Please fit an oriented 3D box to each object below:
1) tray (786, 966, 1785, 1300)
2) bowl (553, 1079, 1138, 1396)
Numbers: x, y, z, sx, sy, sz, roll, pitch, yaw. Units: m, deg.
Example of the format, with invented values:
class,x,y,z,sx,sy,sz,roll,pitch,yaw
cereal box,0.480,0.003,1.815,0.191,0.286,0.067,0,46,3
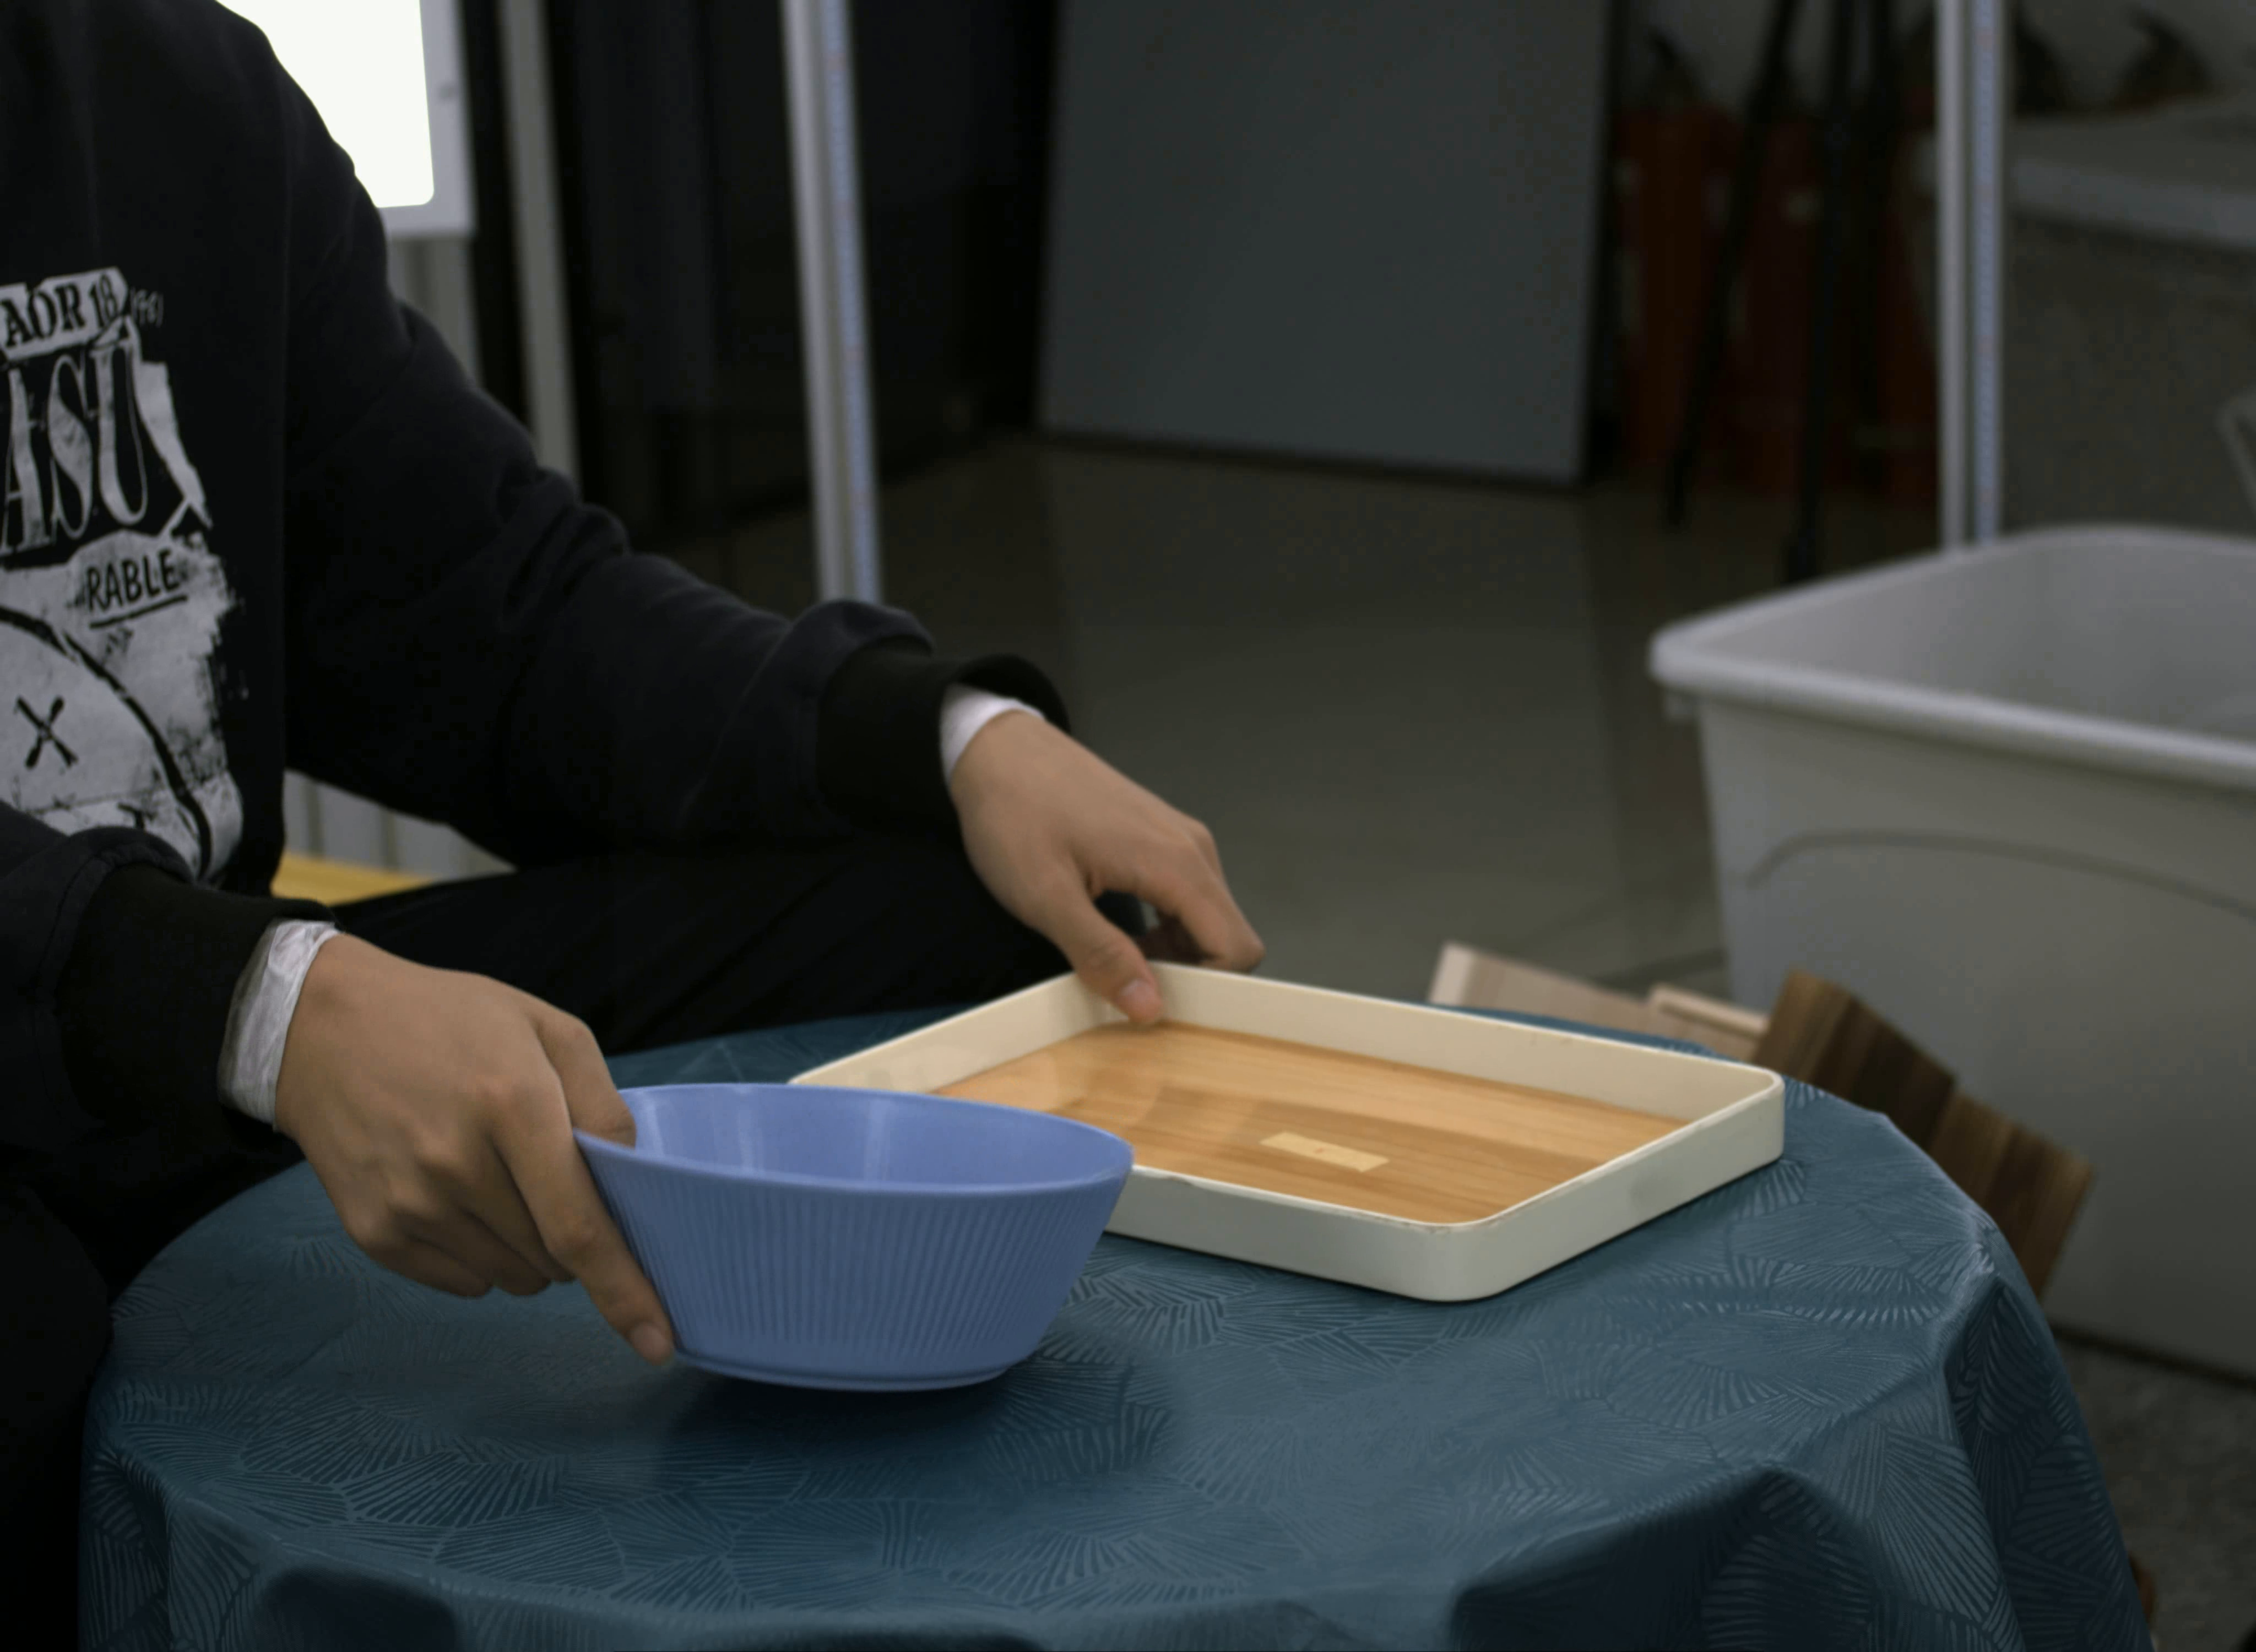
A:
class,x,y,z,sx,sy,sz,roll,pitch,yaw
tray,0.050,0.099,1.793,0.303,0.028,0.188,8,18,41
bowl,-0.086,0.123,1.604,0.173,0.071,0.176,4,7,-1
